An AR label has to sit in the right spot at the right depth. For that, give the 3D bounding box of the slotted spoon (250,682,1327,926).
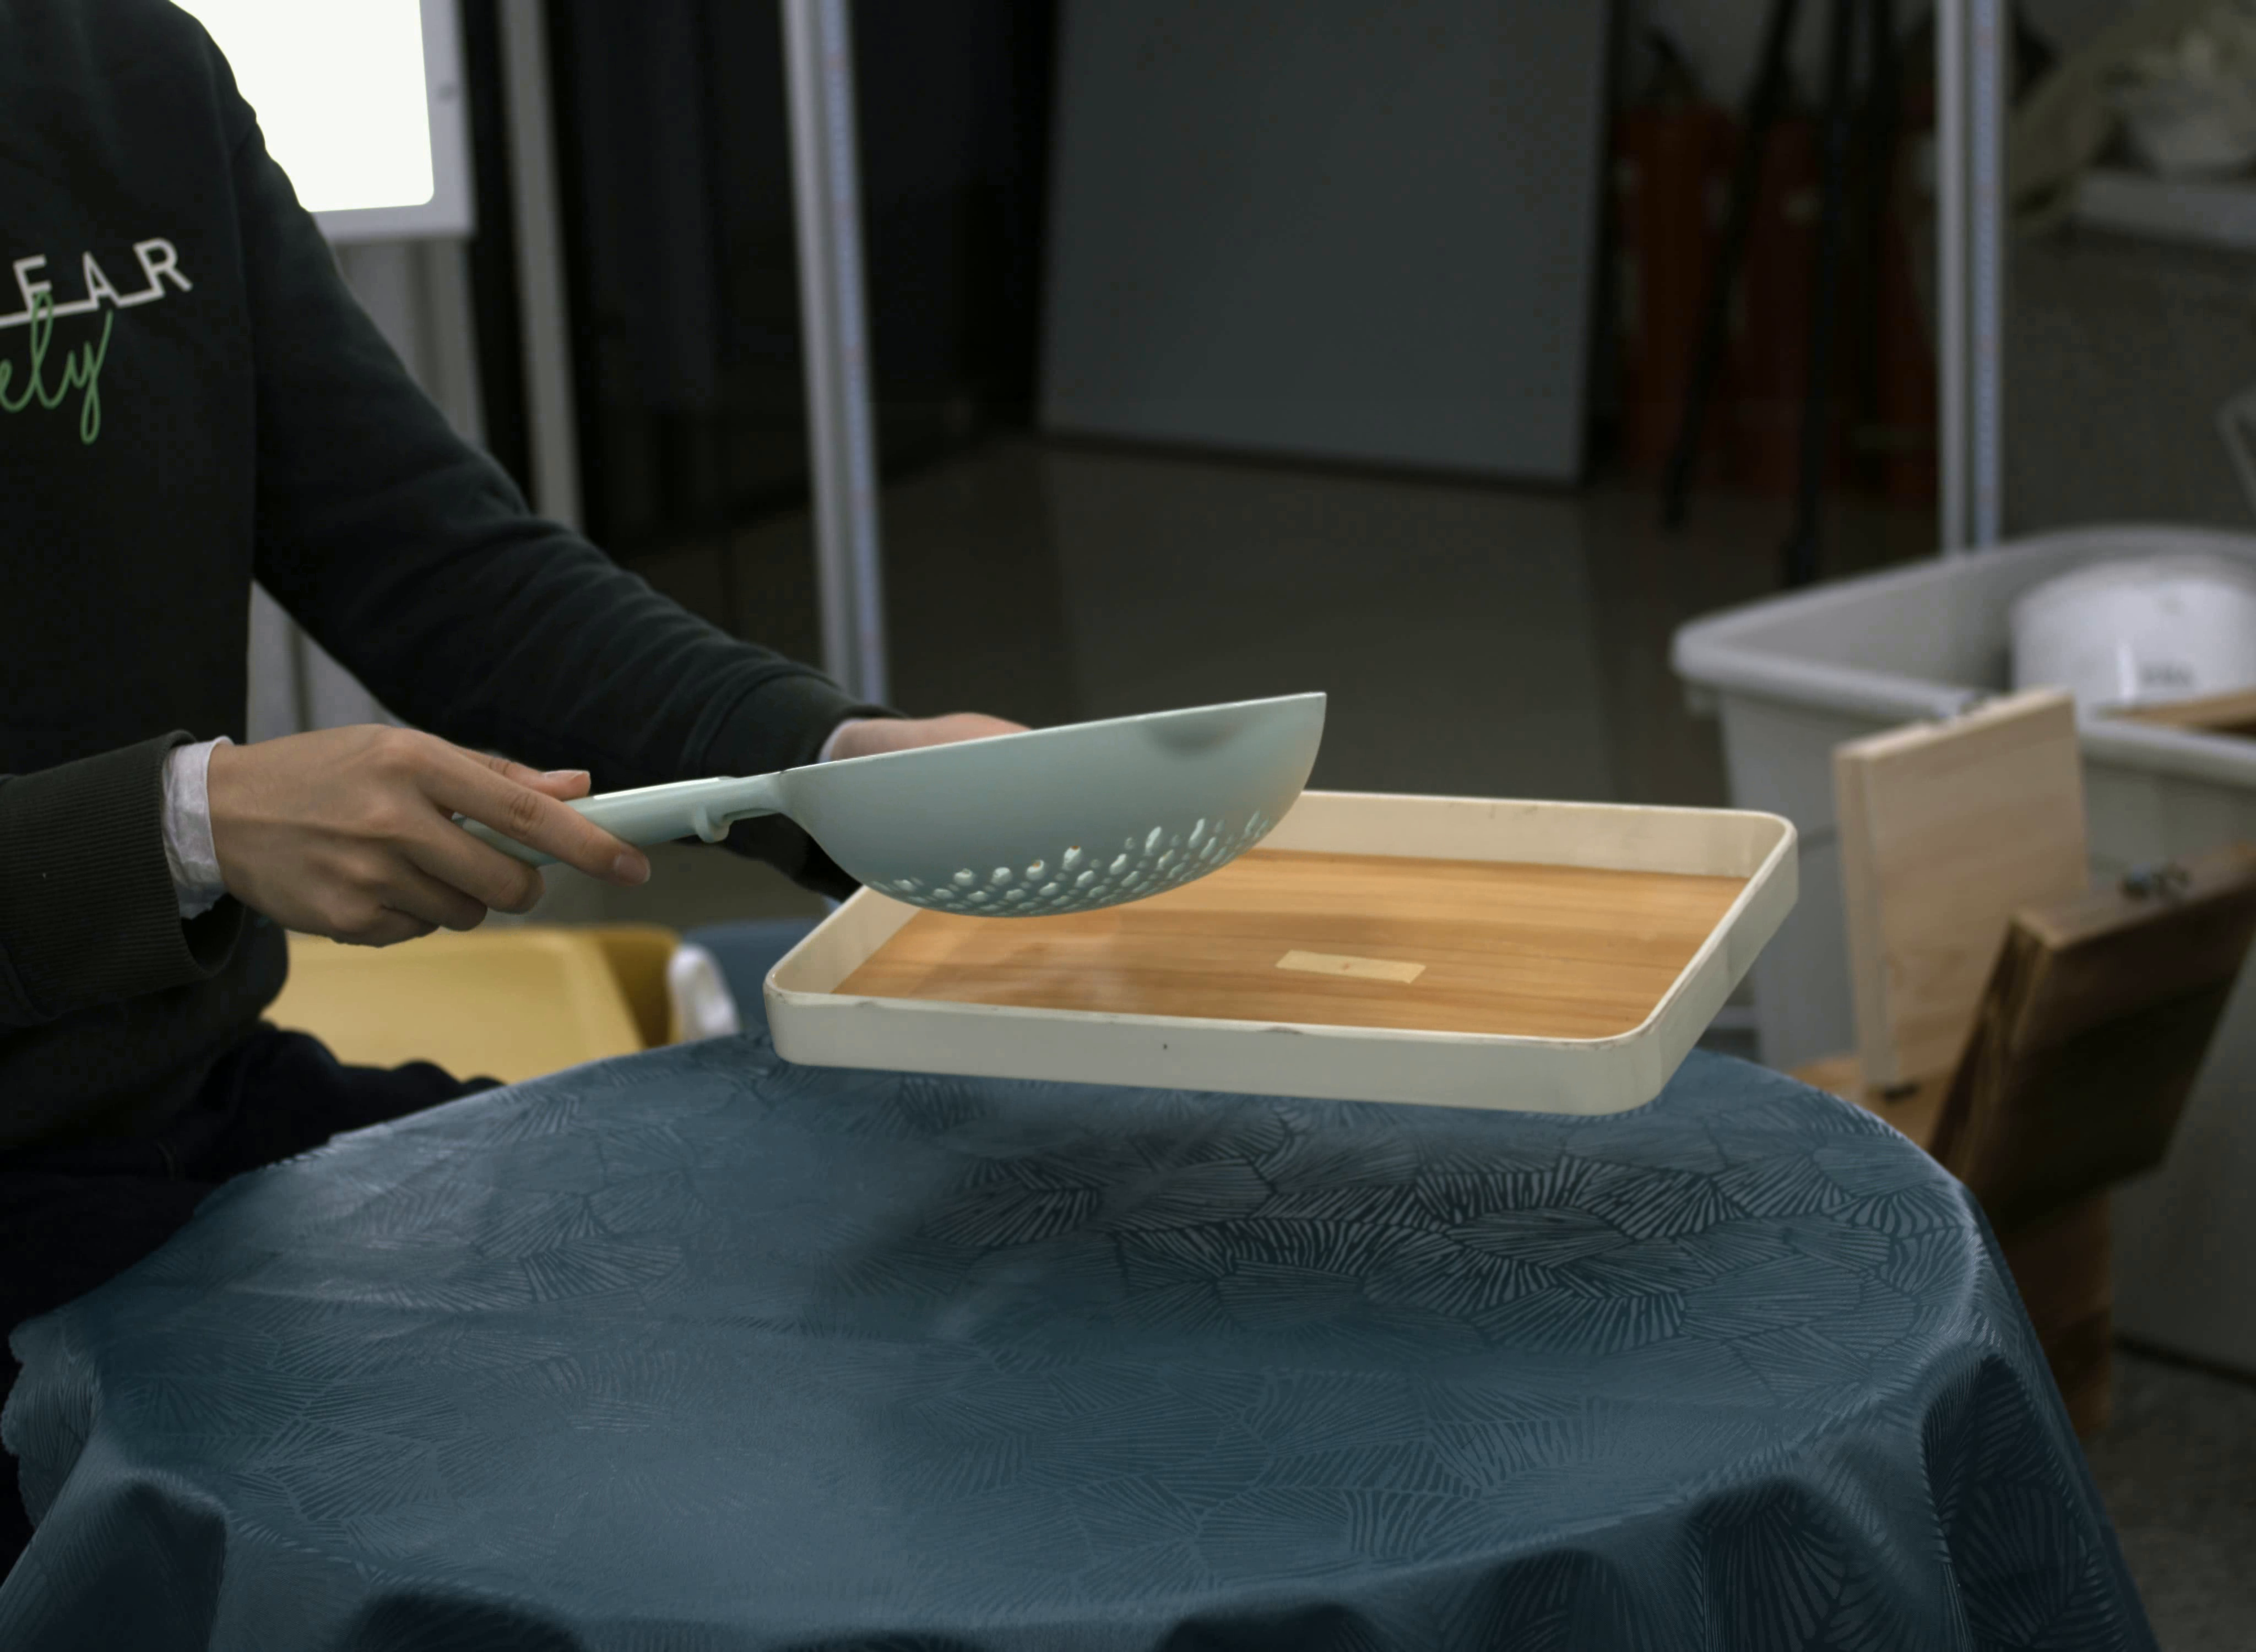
[{"bbox_3d":[-0.112,-0.006,1.690,0.357,0.076,0.167,0,1,17],"label":"slotted spoon"}]

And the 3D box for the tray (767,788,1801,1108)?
[{"bbox_3d":[0.052,0.035,1.728,0.300,0.027,0.189,2,22,25],"label":"tray"}]
